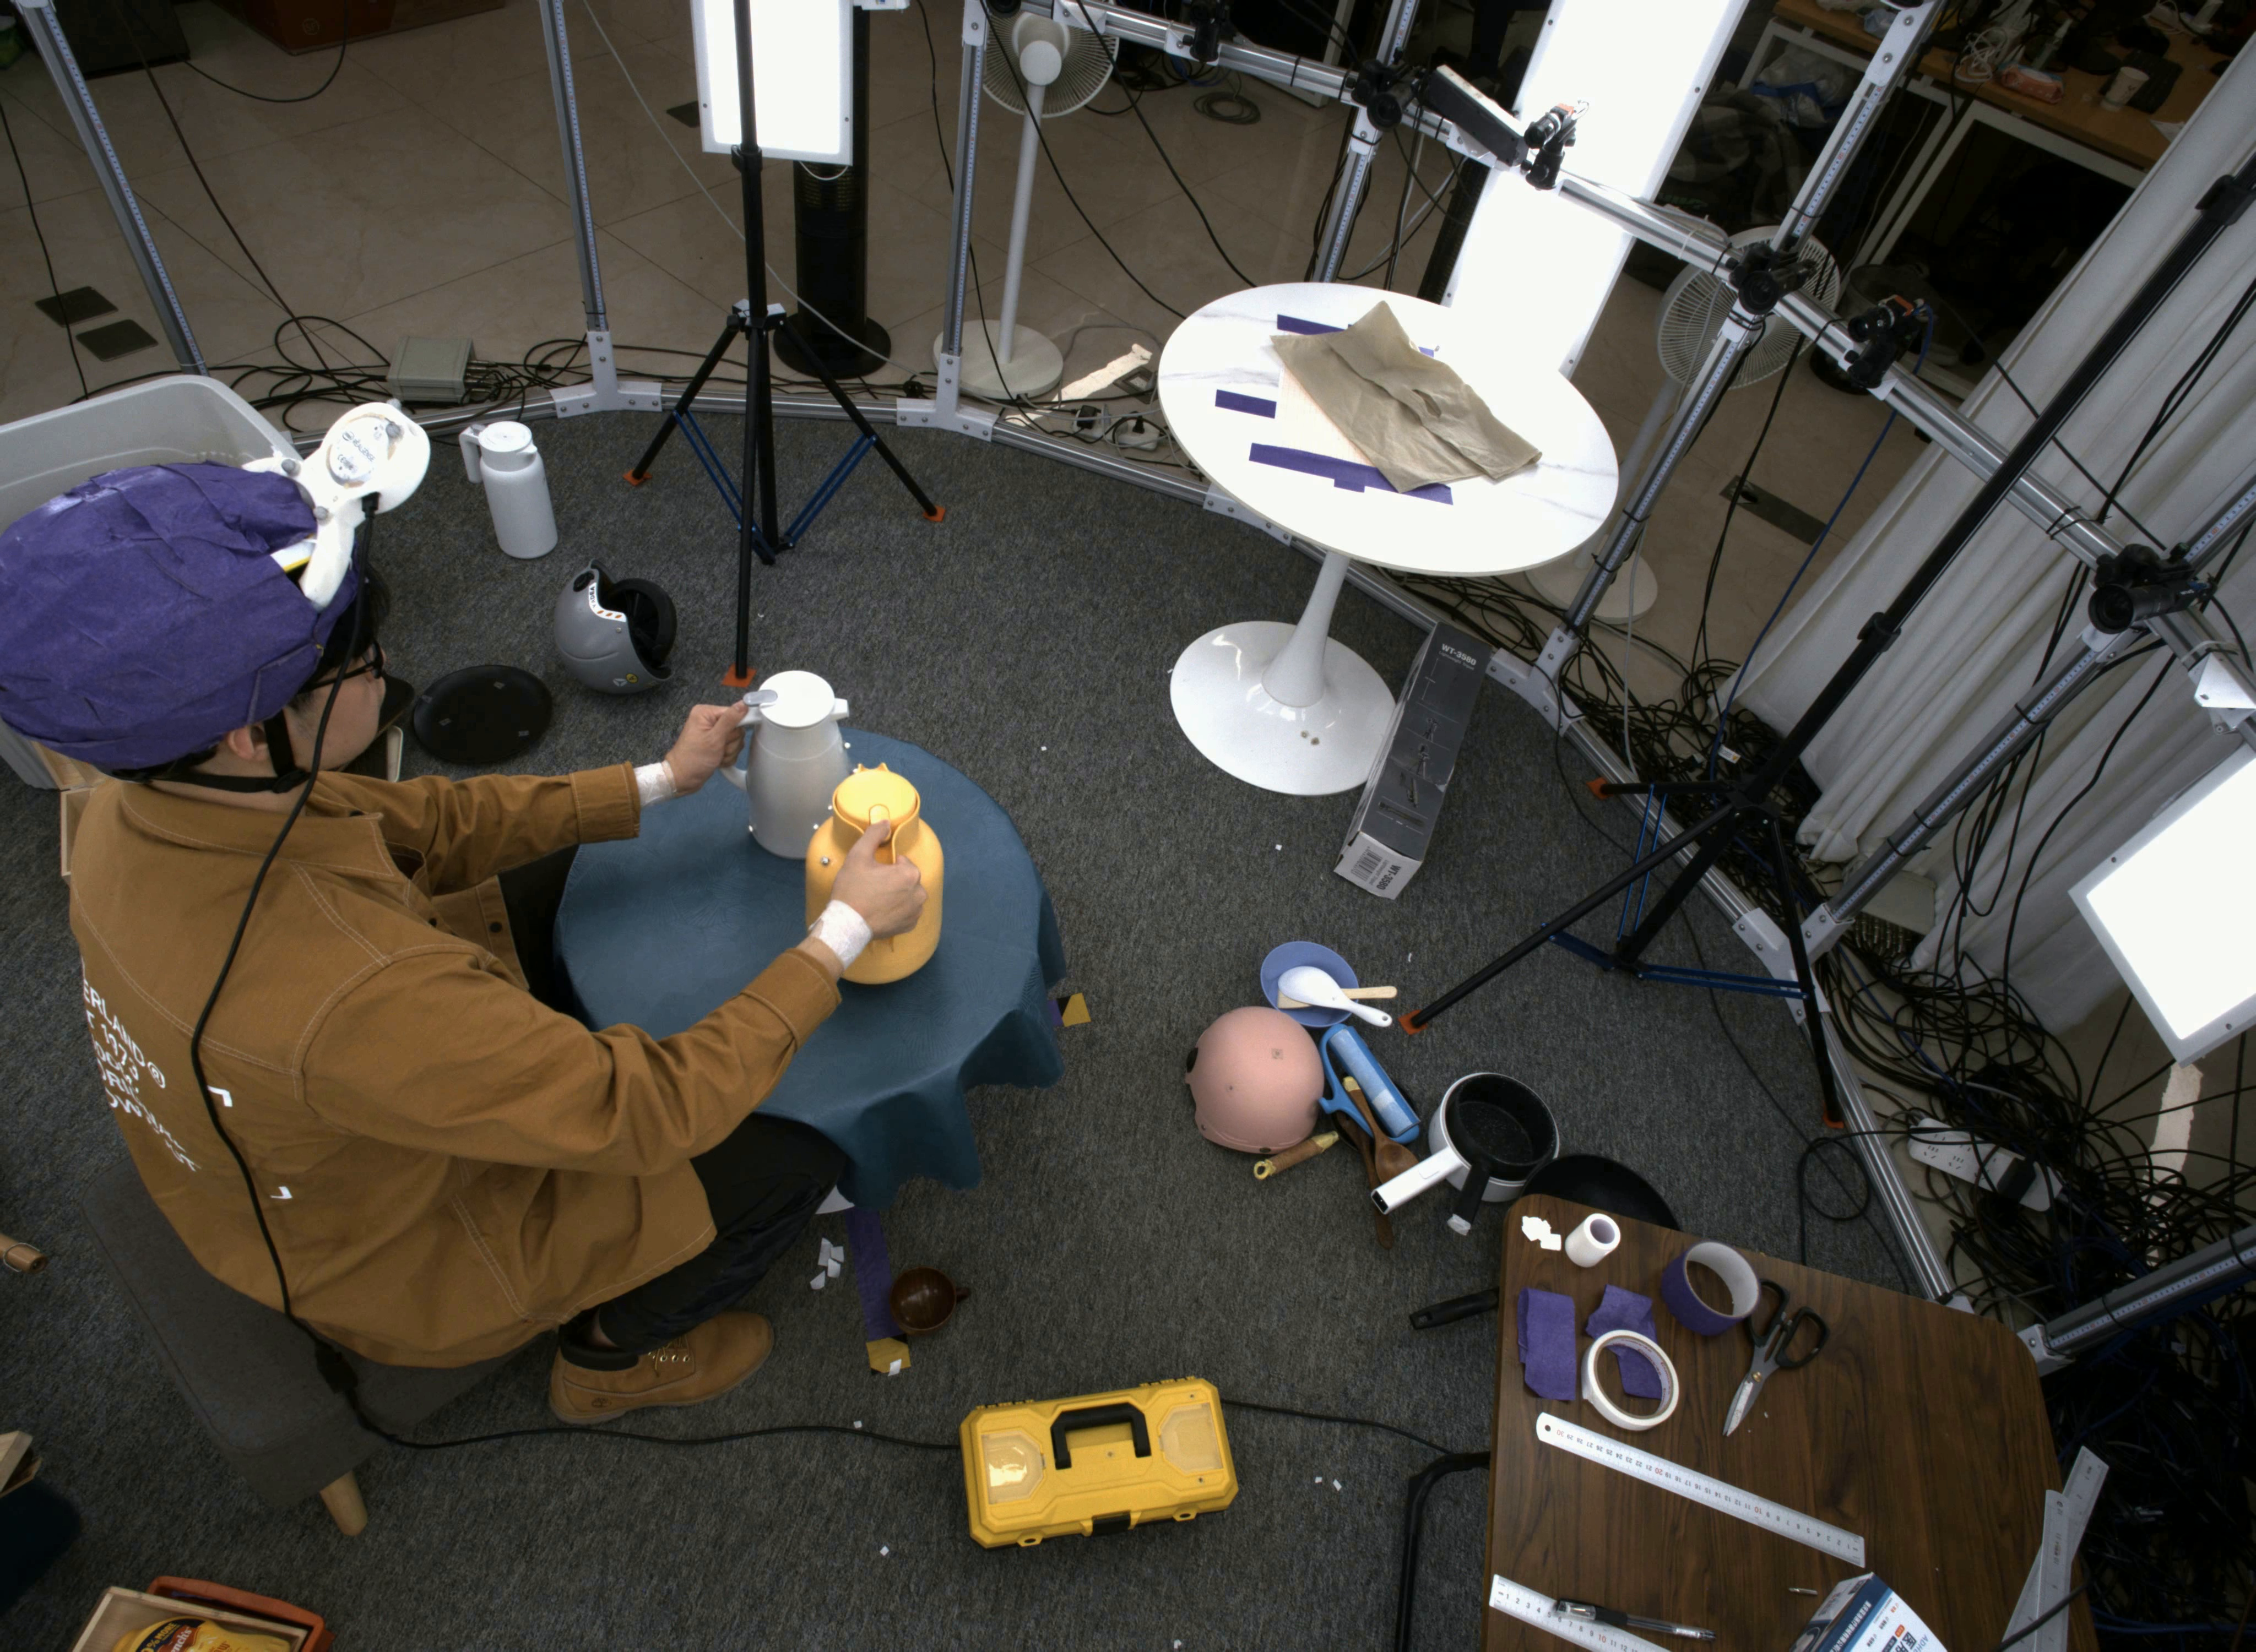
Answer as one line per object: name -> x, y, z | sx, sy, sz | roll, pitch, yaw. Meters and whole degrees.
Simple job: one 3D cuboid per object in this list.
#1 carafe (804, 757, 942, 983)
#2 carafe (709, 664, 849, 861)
carafe -> -0.296, 0.063, 1.515 | 0.163, 0.267, 0.197 | -3, 45, -13
carafe -> -0.435, -0.084, 1.621 | 0.168, 0.254, 0.129 | -4, 53, -14
